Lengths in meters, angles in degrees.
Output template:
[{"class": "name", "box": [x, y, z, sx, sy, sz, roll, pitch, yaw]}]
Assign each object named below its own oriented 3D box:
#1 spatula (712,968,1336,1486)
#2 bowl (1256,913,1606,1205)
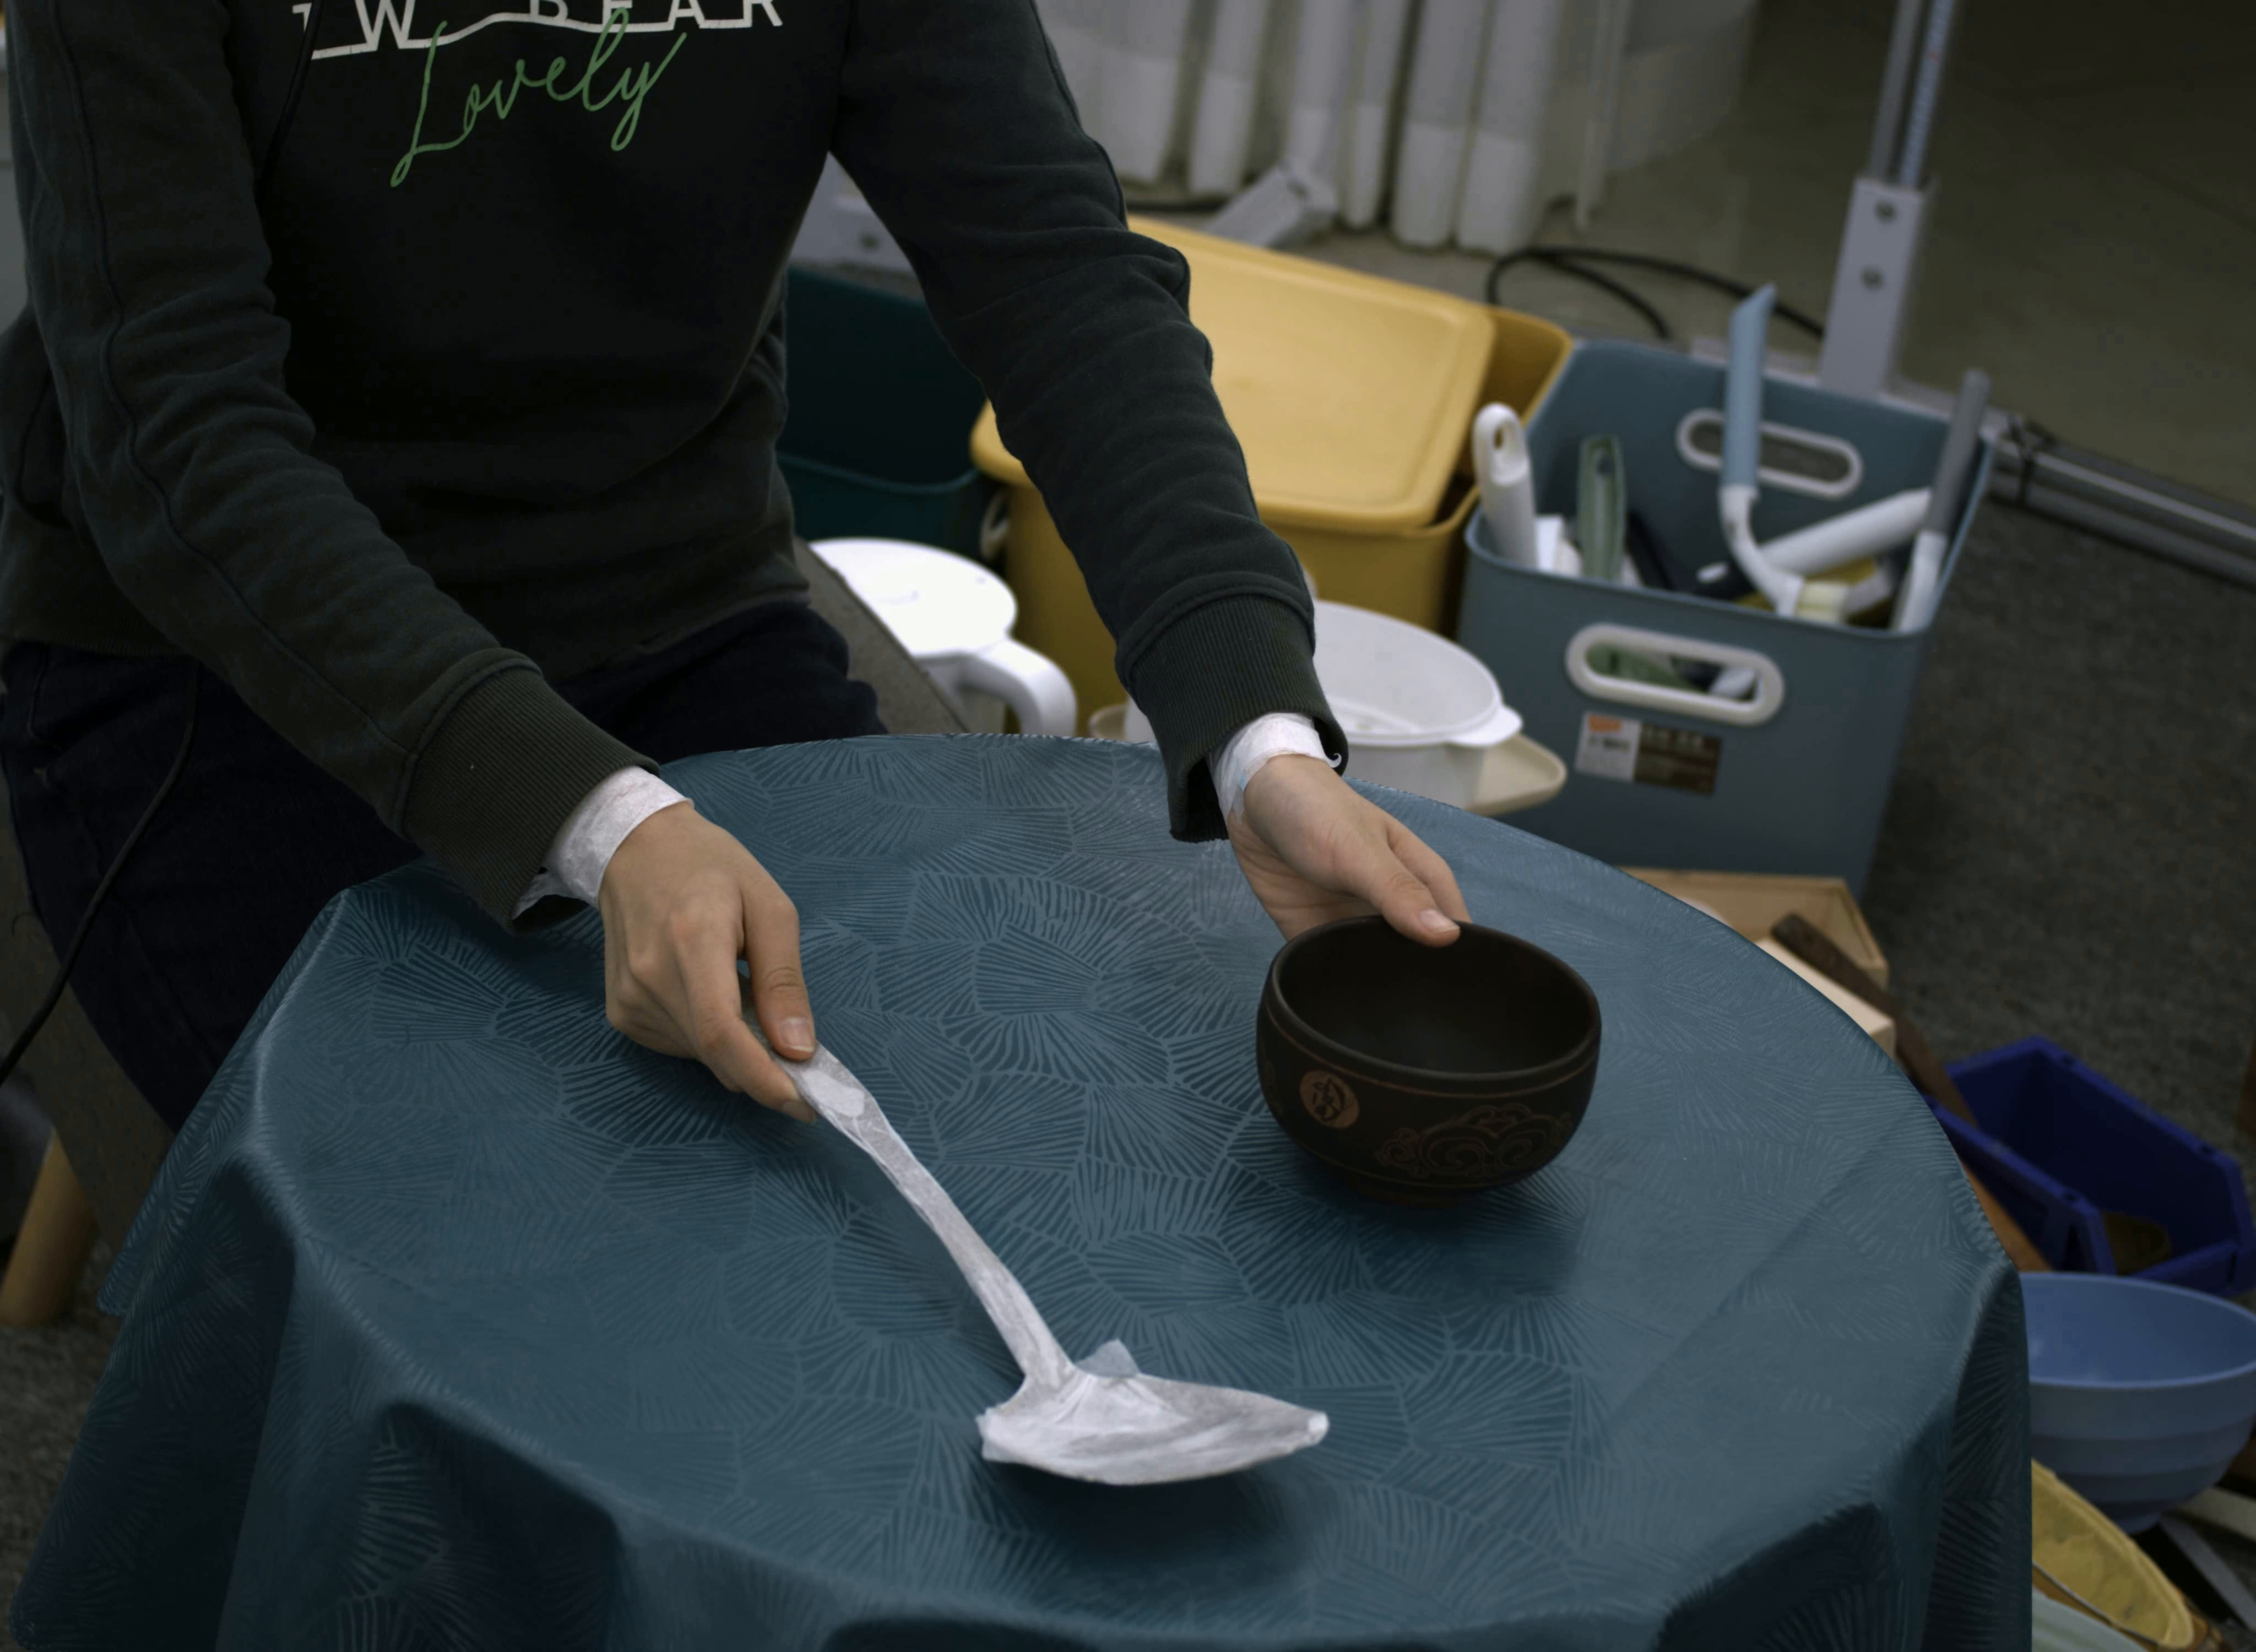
[{"class": "spatula", "box": [-0.058, 0.122, 1.738, 0.098, 0.044, 0.368, -10, 34, -28]}, {"class": "bowl", "box": [0.101, 0.086, 1.819, 0.117, 0.069, 0.119, 6, 25, -3]}]
